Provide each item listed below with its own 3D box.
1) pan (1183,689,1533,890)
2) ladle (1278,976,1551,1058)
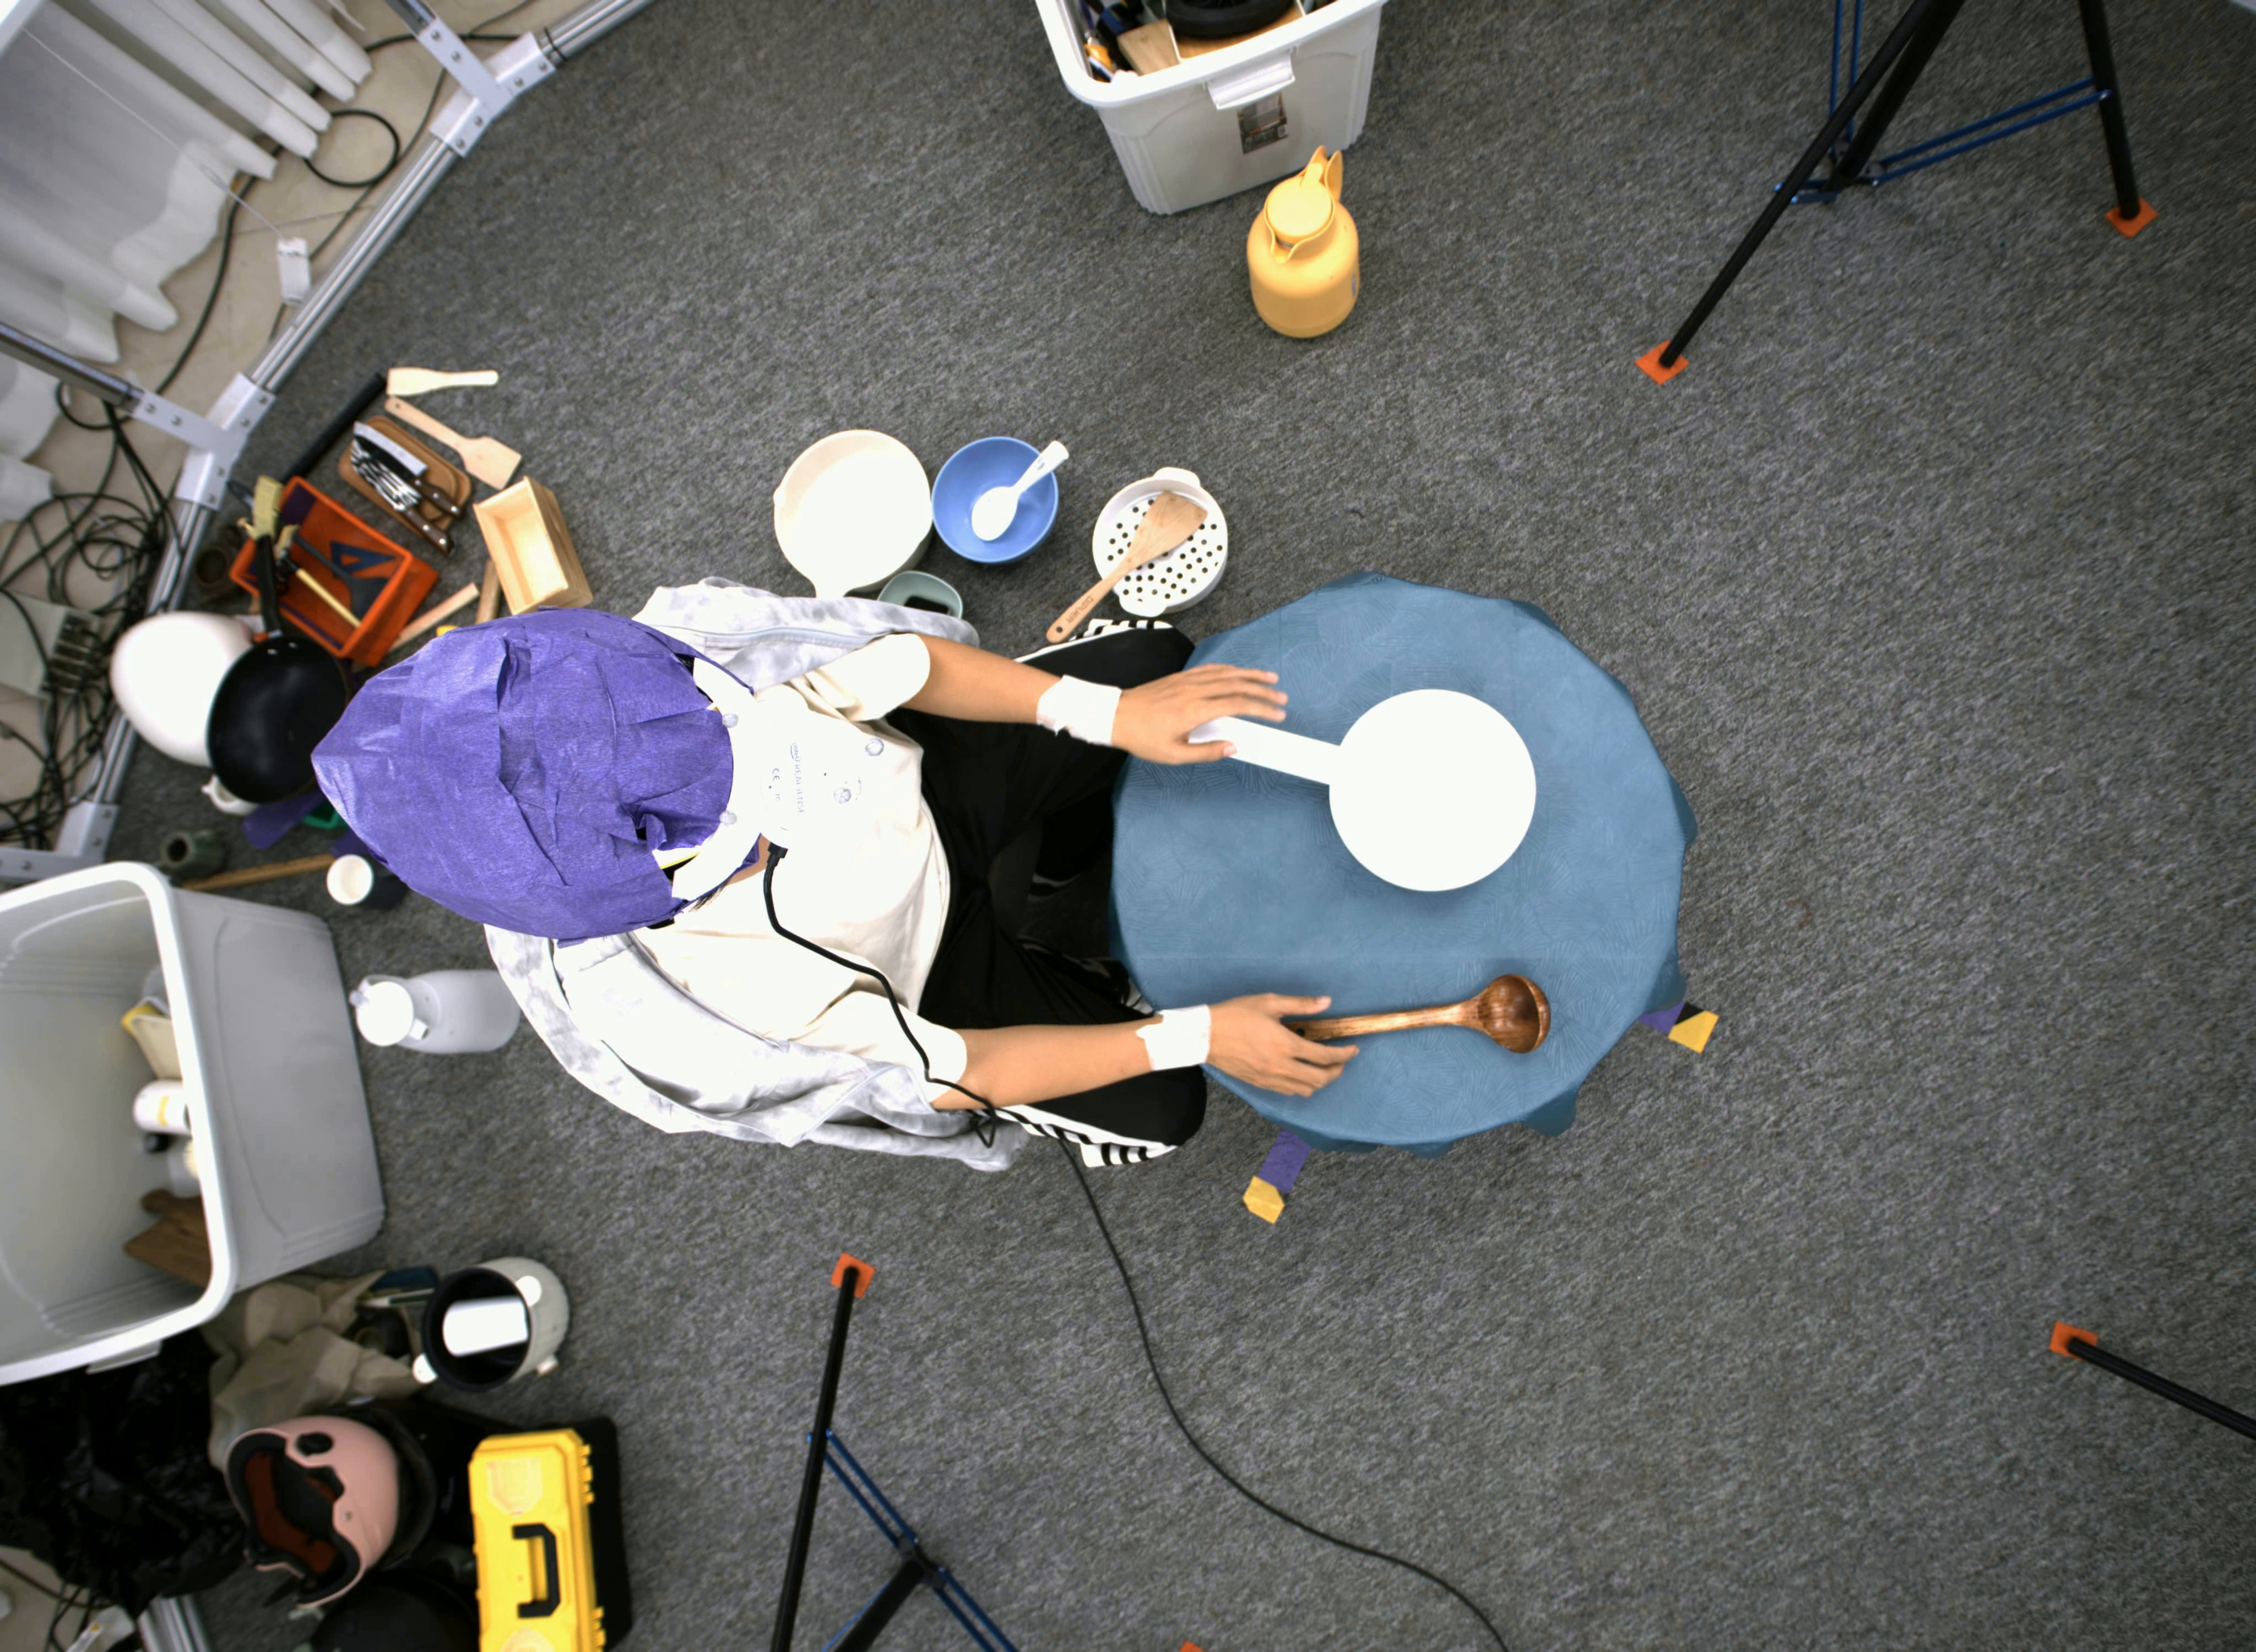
[{"bbox_3d":[0.235,-0.055,1.422,0.355,0.102,0.201,16,90,12],"label":"pan"},{"bbox_3d":[0.289,0.199,1.408,0.275,0.076,0.081,-5,87,9],"label":"ladle"}]
